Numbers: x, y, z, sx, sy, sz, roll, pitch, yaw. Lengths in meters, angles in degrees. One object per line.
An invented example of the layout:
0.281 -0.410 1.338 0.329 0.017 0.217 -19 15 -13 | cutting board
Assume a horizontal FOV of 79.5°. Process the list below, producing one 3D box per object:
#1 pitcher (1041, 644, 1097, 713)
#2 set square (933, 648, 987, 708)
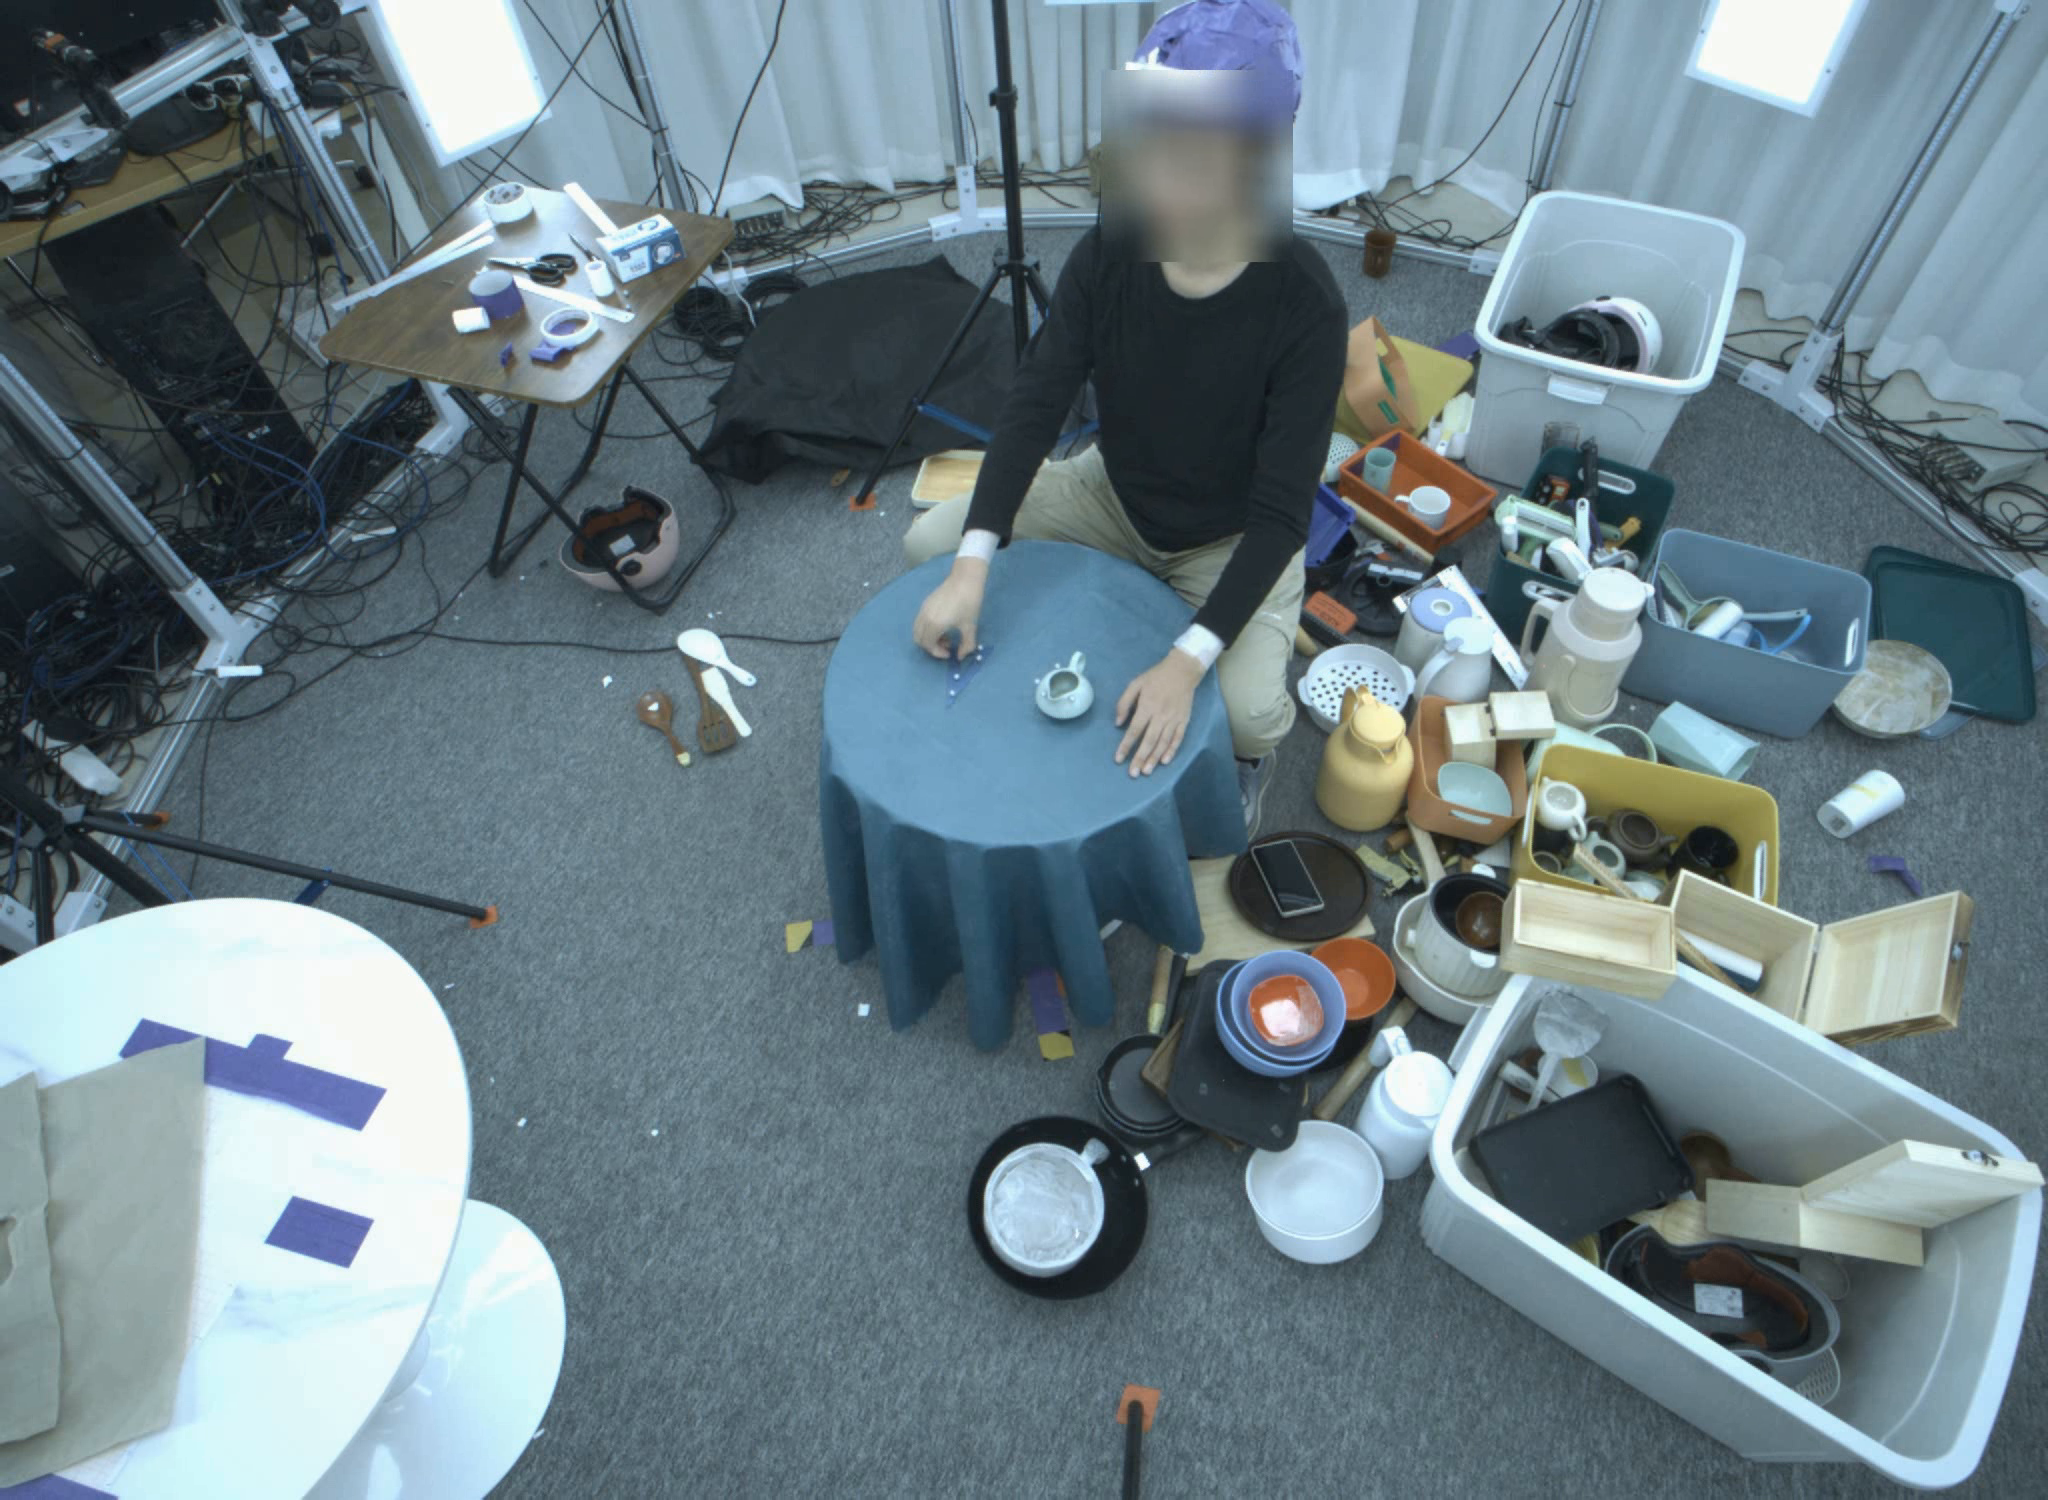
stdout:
0.070 -0.106 1.818 0.084 0.061 0.108 31 79 33 | pitcher
-0.115 -0.120 1.873 0.060 0.006 0.132 28 61 17 | set square
